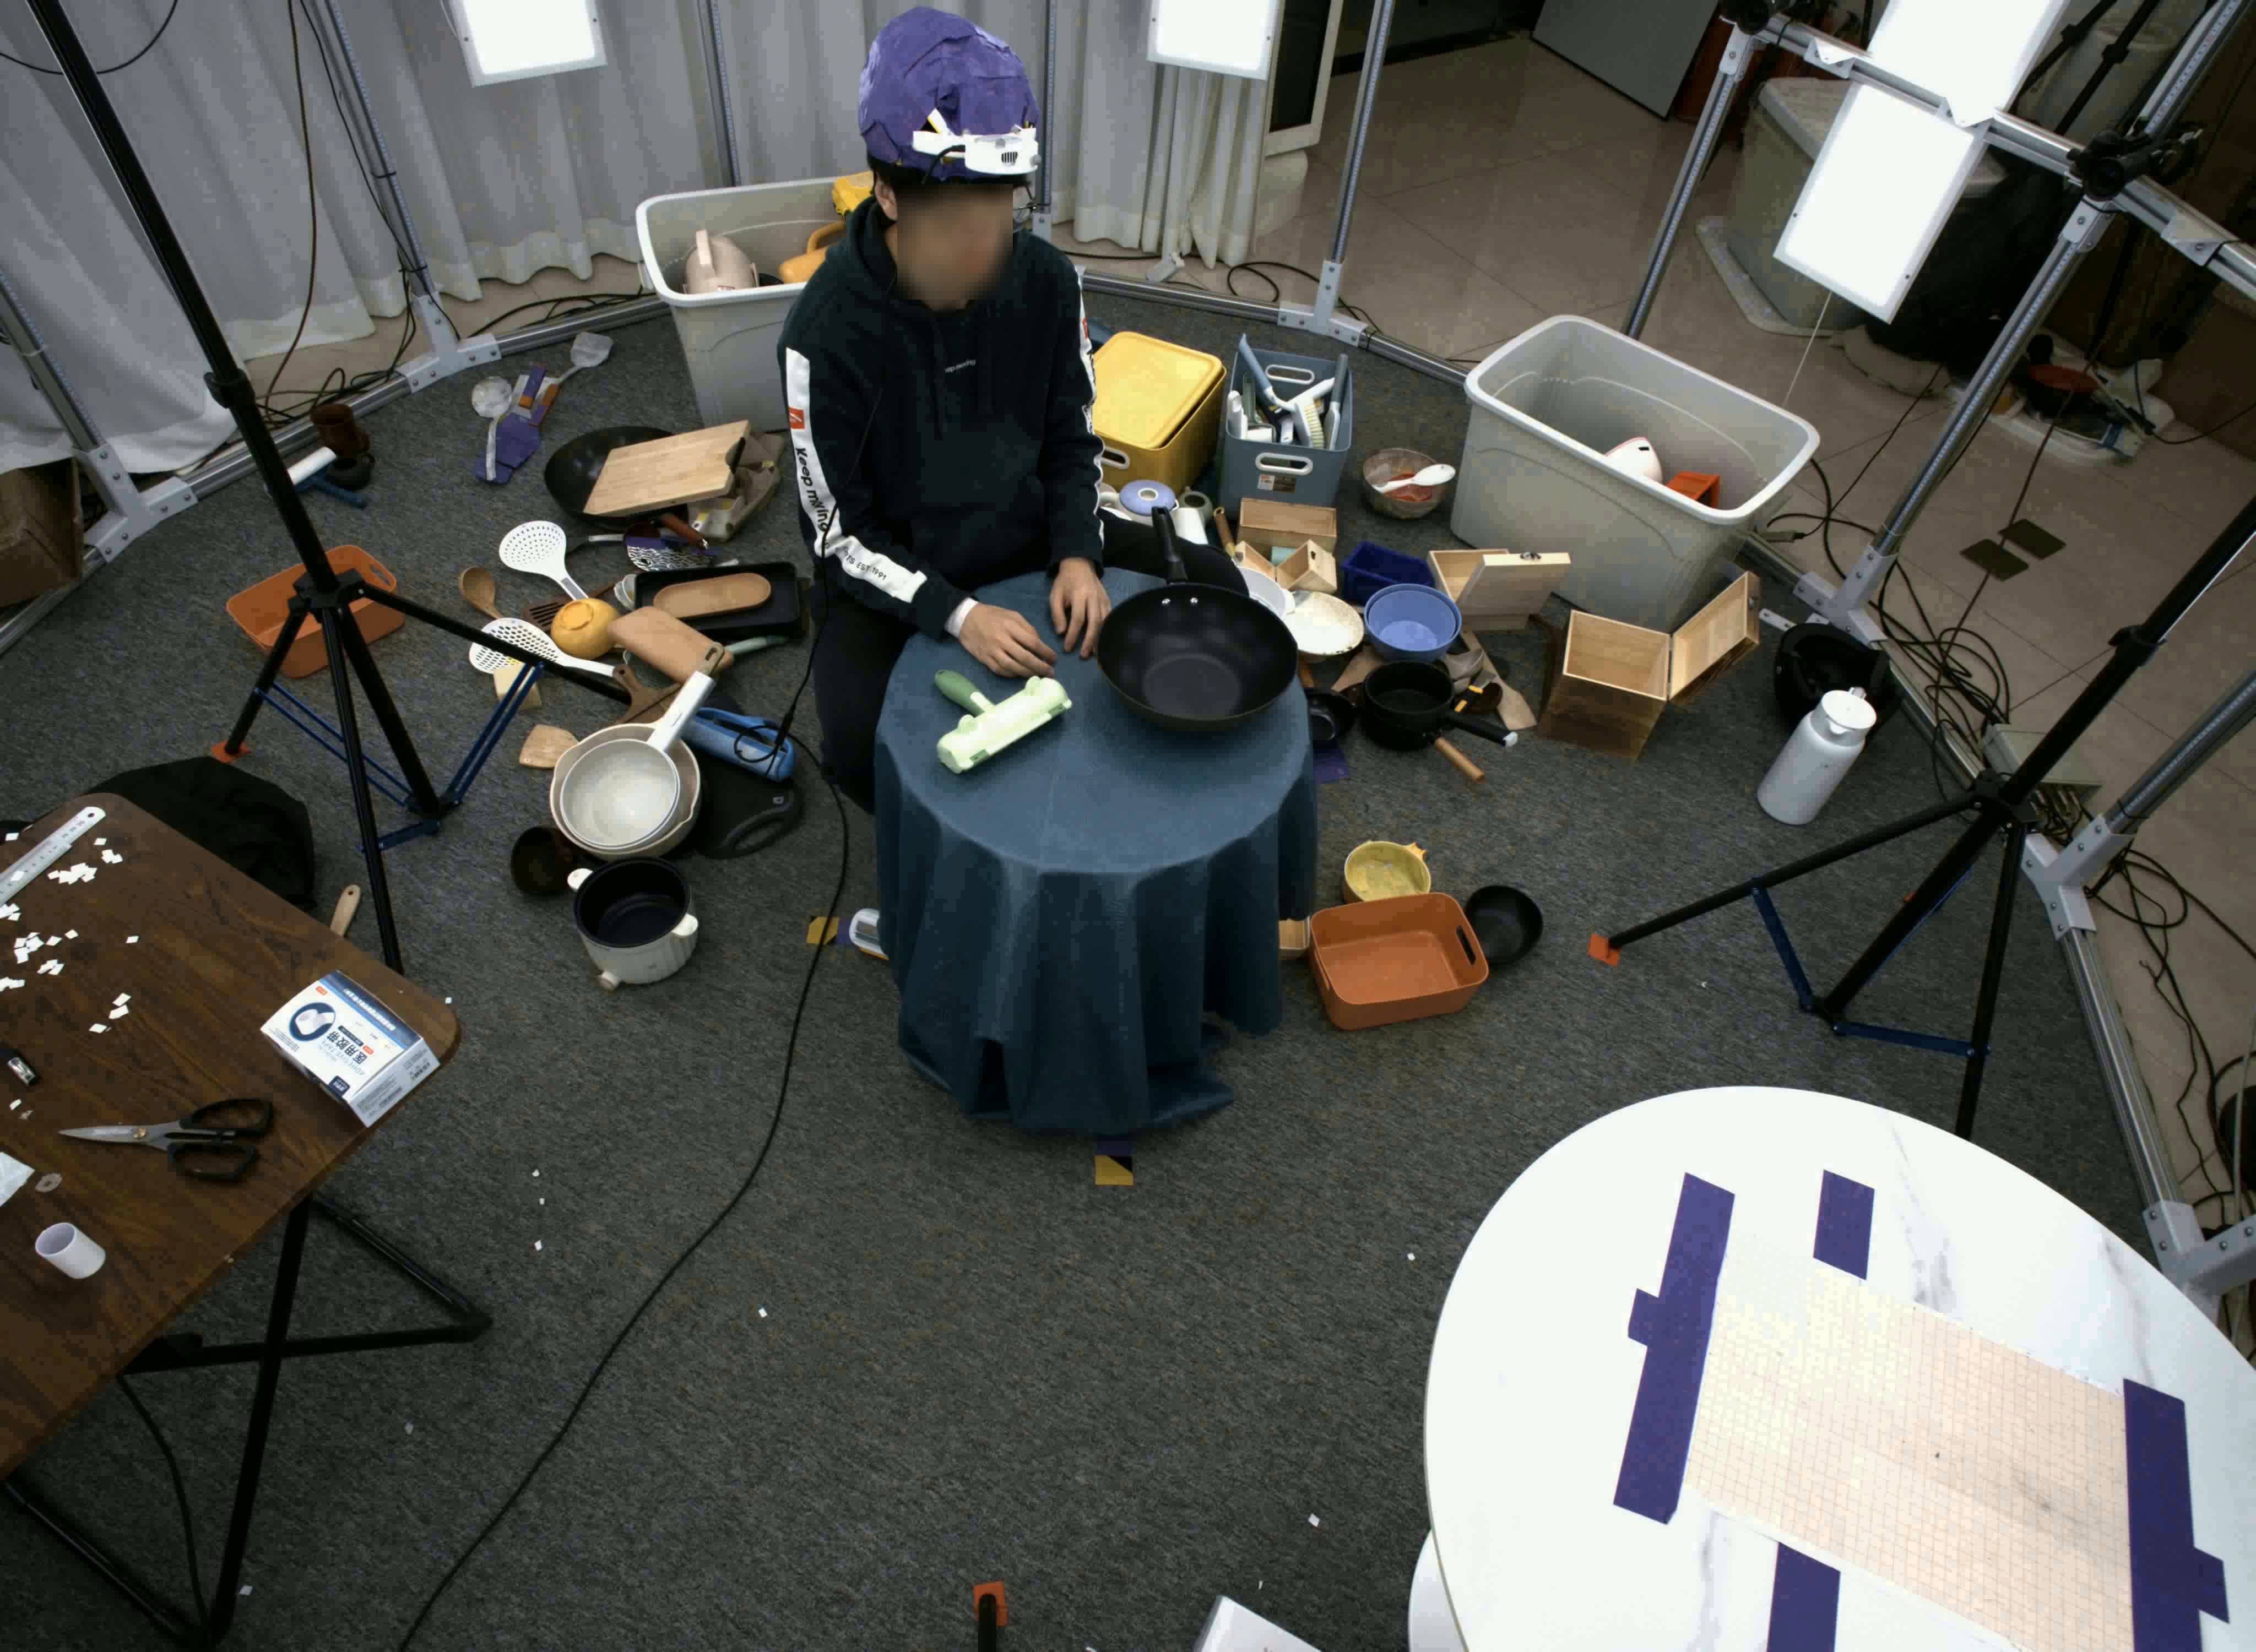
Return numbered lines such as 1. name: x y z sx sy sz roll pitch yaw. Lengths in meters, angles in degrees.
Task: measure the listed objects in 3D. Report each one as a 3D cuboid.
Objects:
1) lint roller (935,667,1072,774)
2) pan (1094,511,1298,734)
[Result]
1. lint roller: -0.205 -0.178 1.760 0.200 0.080 0.186 -33 64 -28
2. pan: 0.078 -0.291 1.872 0.288 0.085 0.475 -5 49 -8
